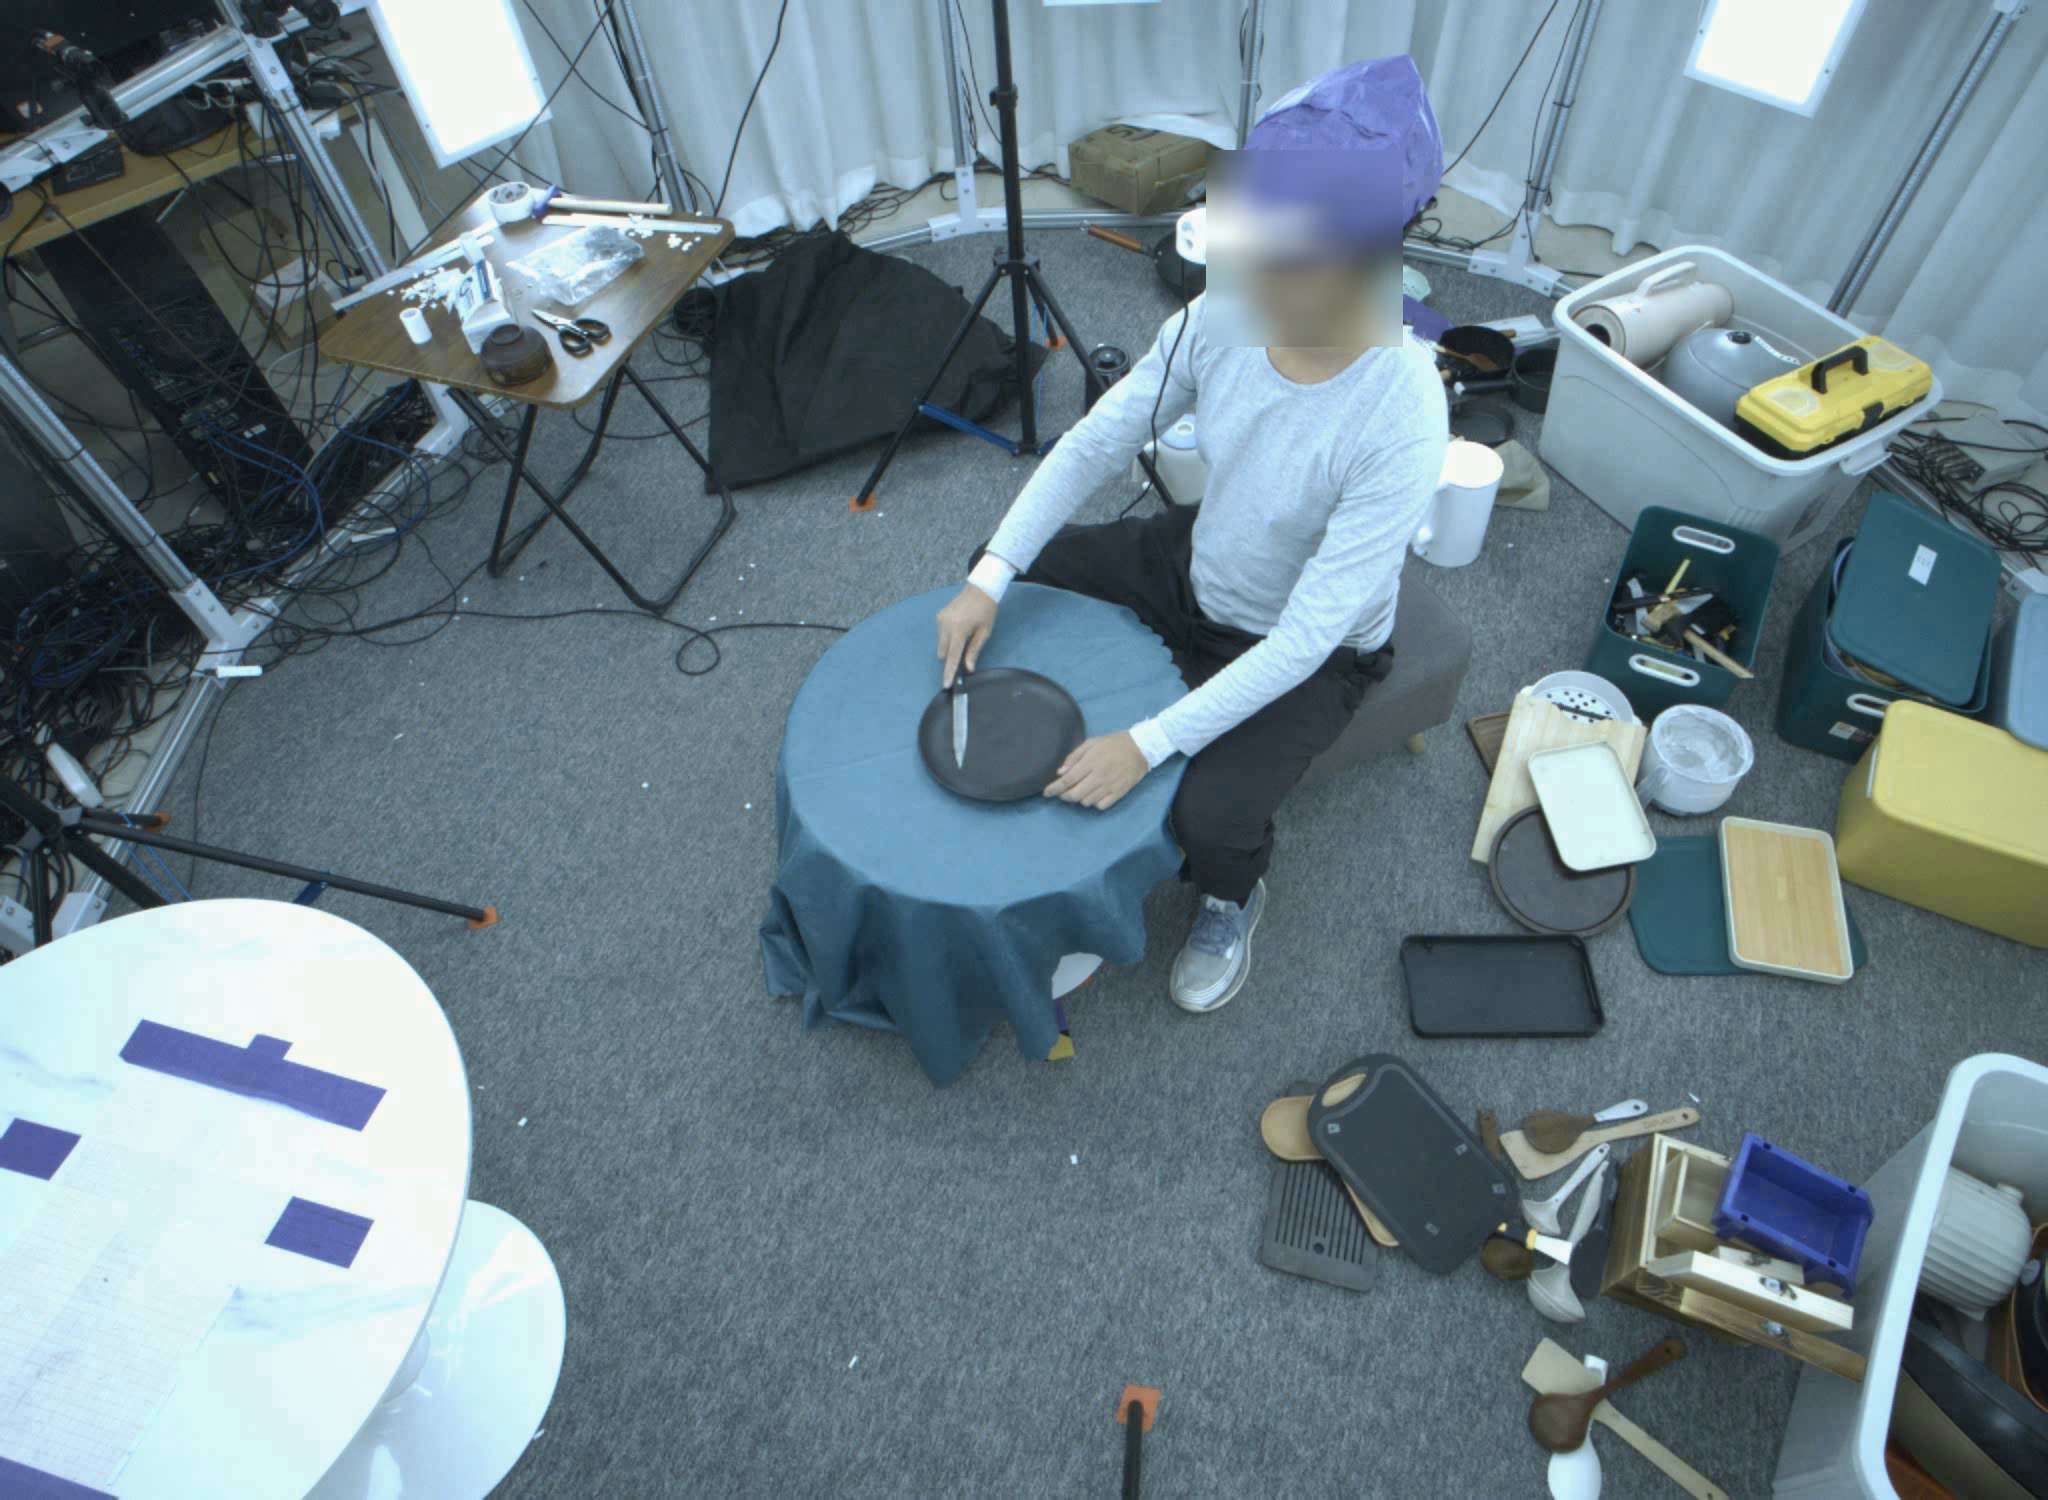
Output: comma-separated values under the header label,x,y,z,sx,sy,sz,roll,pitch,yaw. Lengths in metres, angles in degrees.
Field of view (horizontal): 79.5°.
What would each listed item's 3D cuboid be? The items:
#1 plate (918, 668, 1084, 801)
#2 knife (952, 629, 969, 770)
label,x,y,z,sx,sy,sz,roll,pitch,yaw
plate,-0.033,-0.022,1.798,0.244,0.023,0.242,0,54,1
knife,-0.096,-0.078,1.819,0.025,0.016,0.236,5,63,-17
